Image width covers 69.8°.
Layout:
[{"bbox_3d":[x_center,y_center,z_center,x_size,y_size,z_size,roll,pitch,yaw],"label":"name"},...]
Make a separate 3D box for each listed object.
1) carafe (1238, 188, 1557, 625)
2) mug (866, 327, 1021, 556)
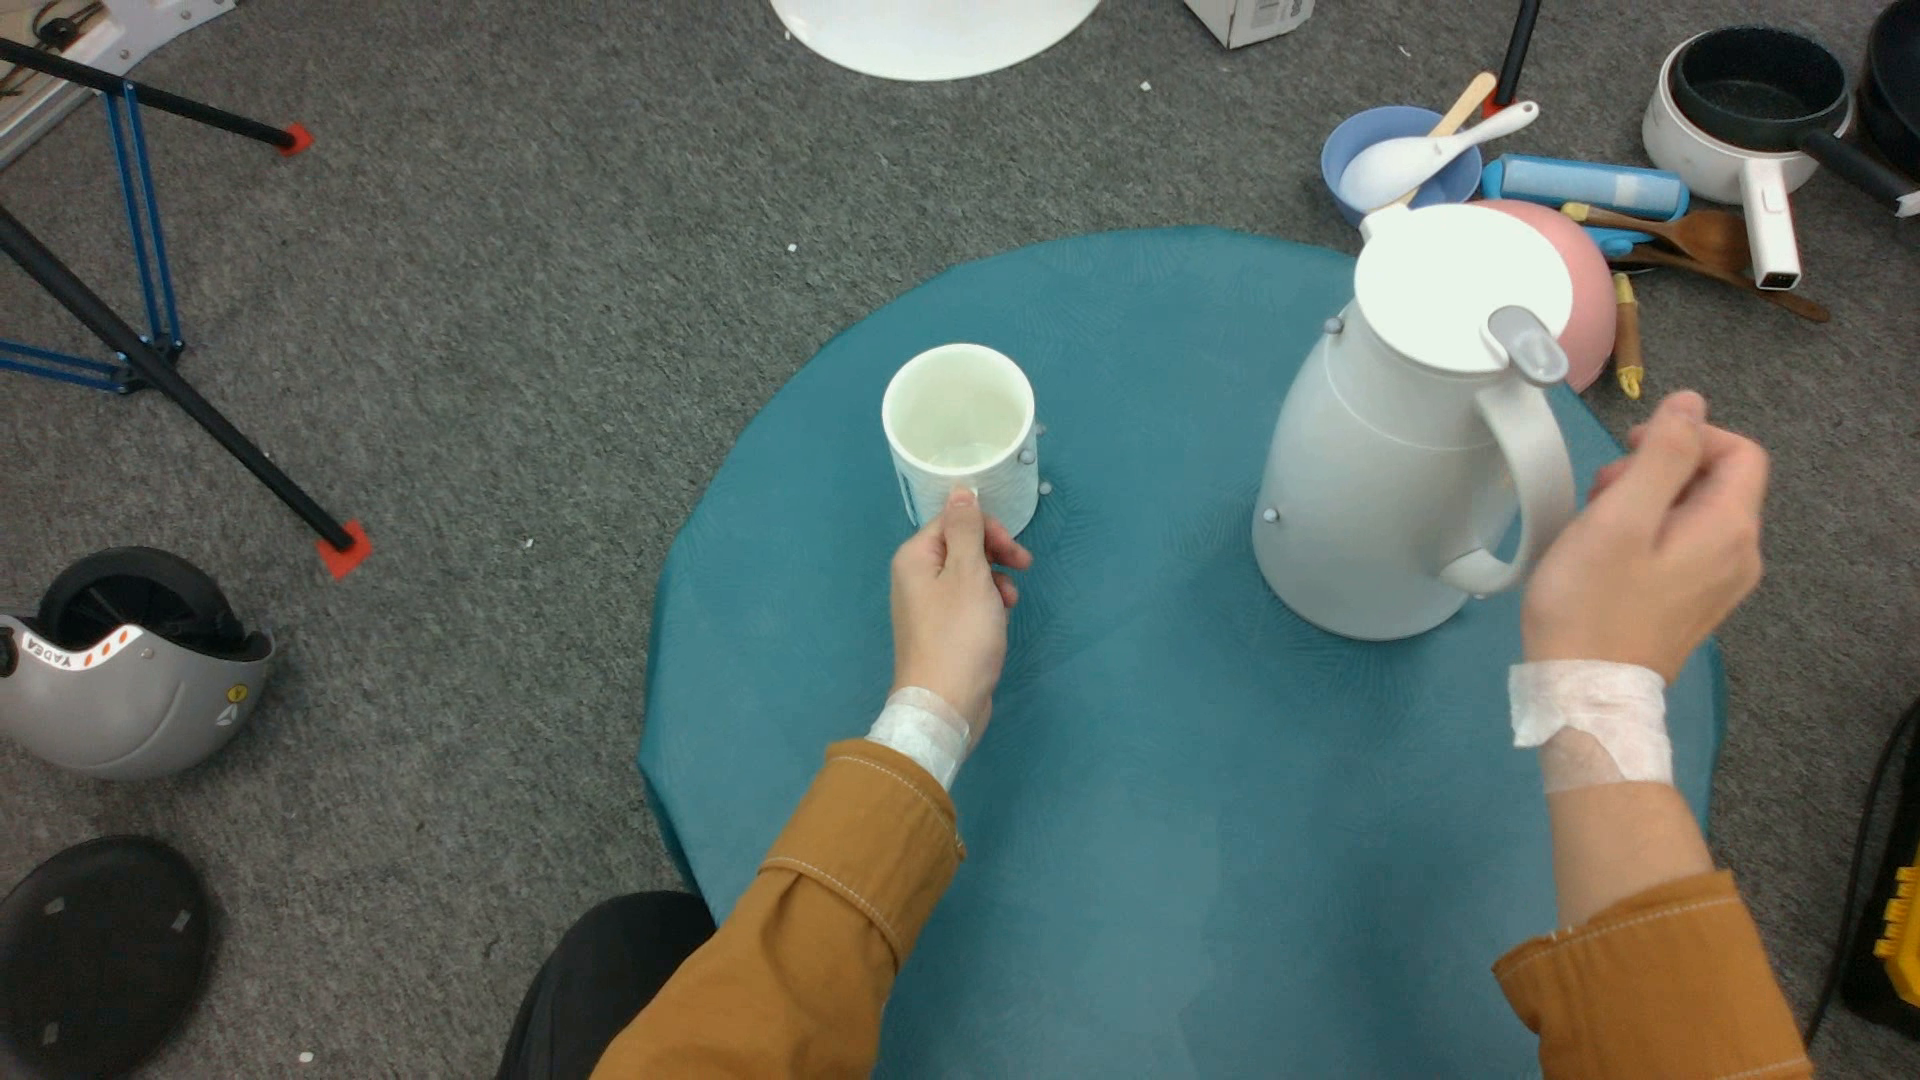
[{"bbox_3d":[0.231,-0.052,0.700,0.133,0.247,0.168,-25,63,-9],"label":"carafe"},{"bbox_3d":[-0.006,-0.046,0.795,0.085,0.101,0.119,-6,60,1],"label":"mug"}]
